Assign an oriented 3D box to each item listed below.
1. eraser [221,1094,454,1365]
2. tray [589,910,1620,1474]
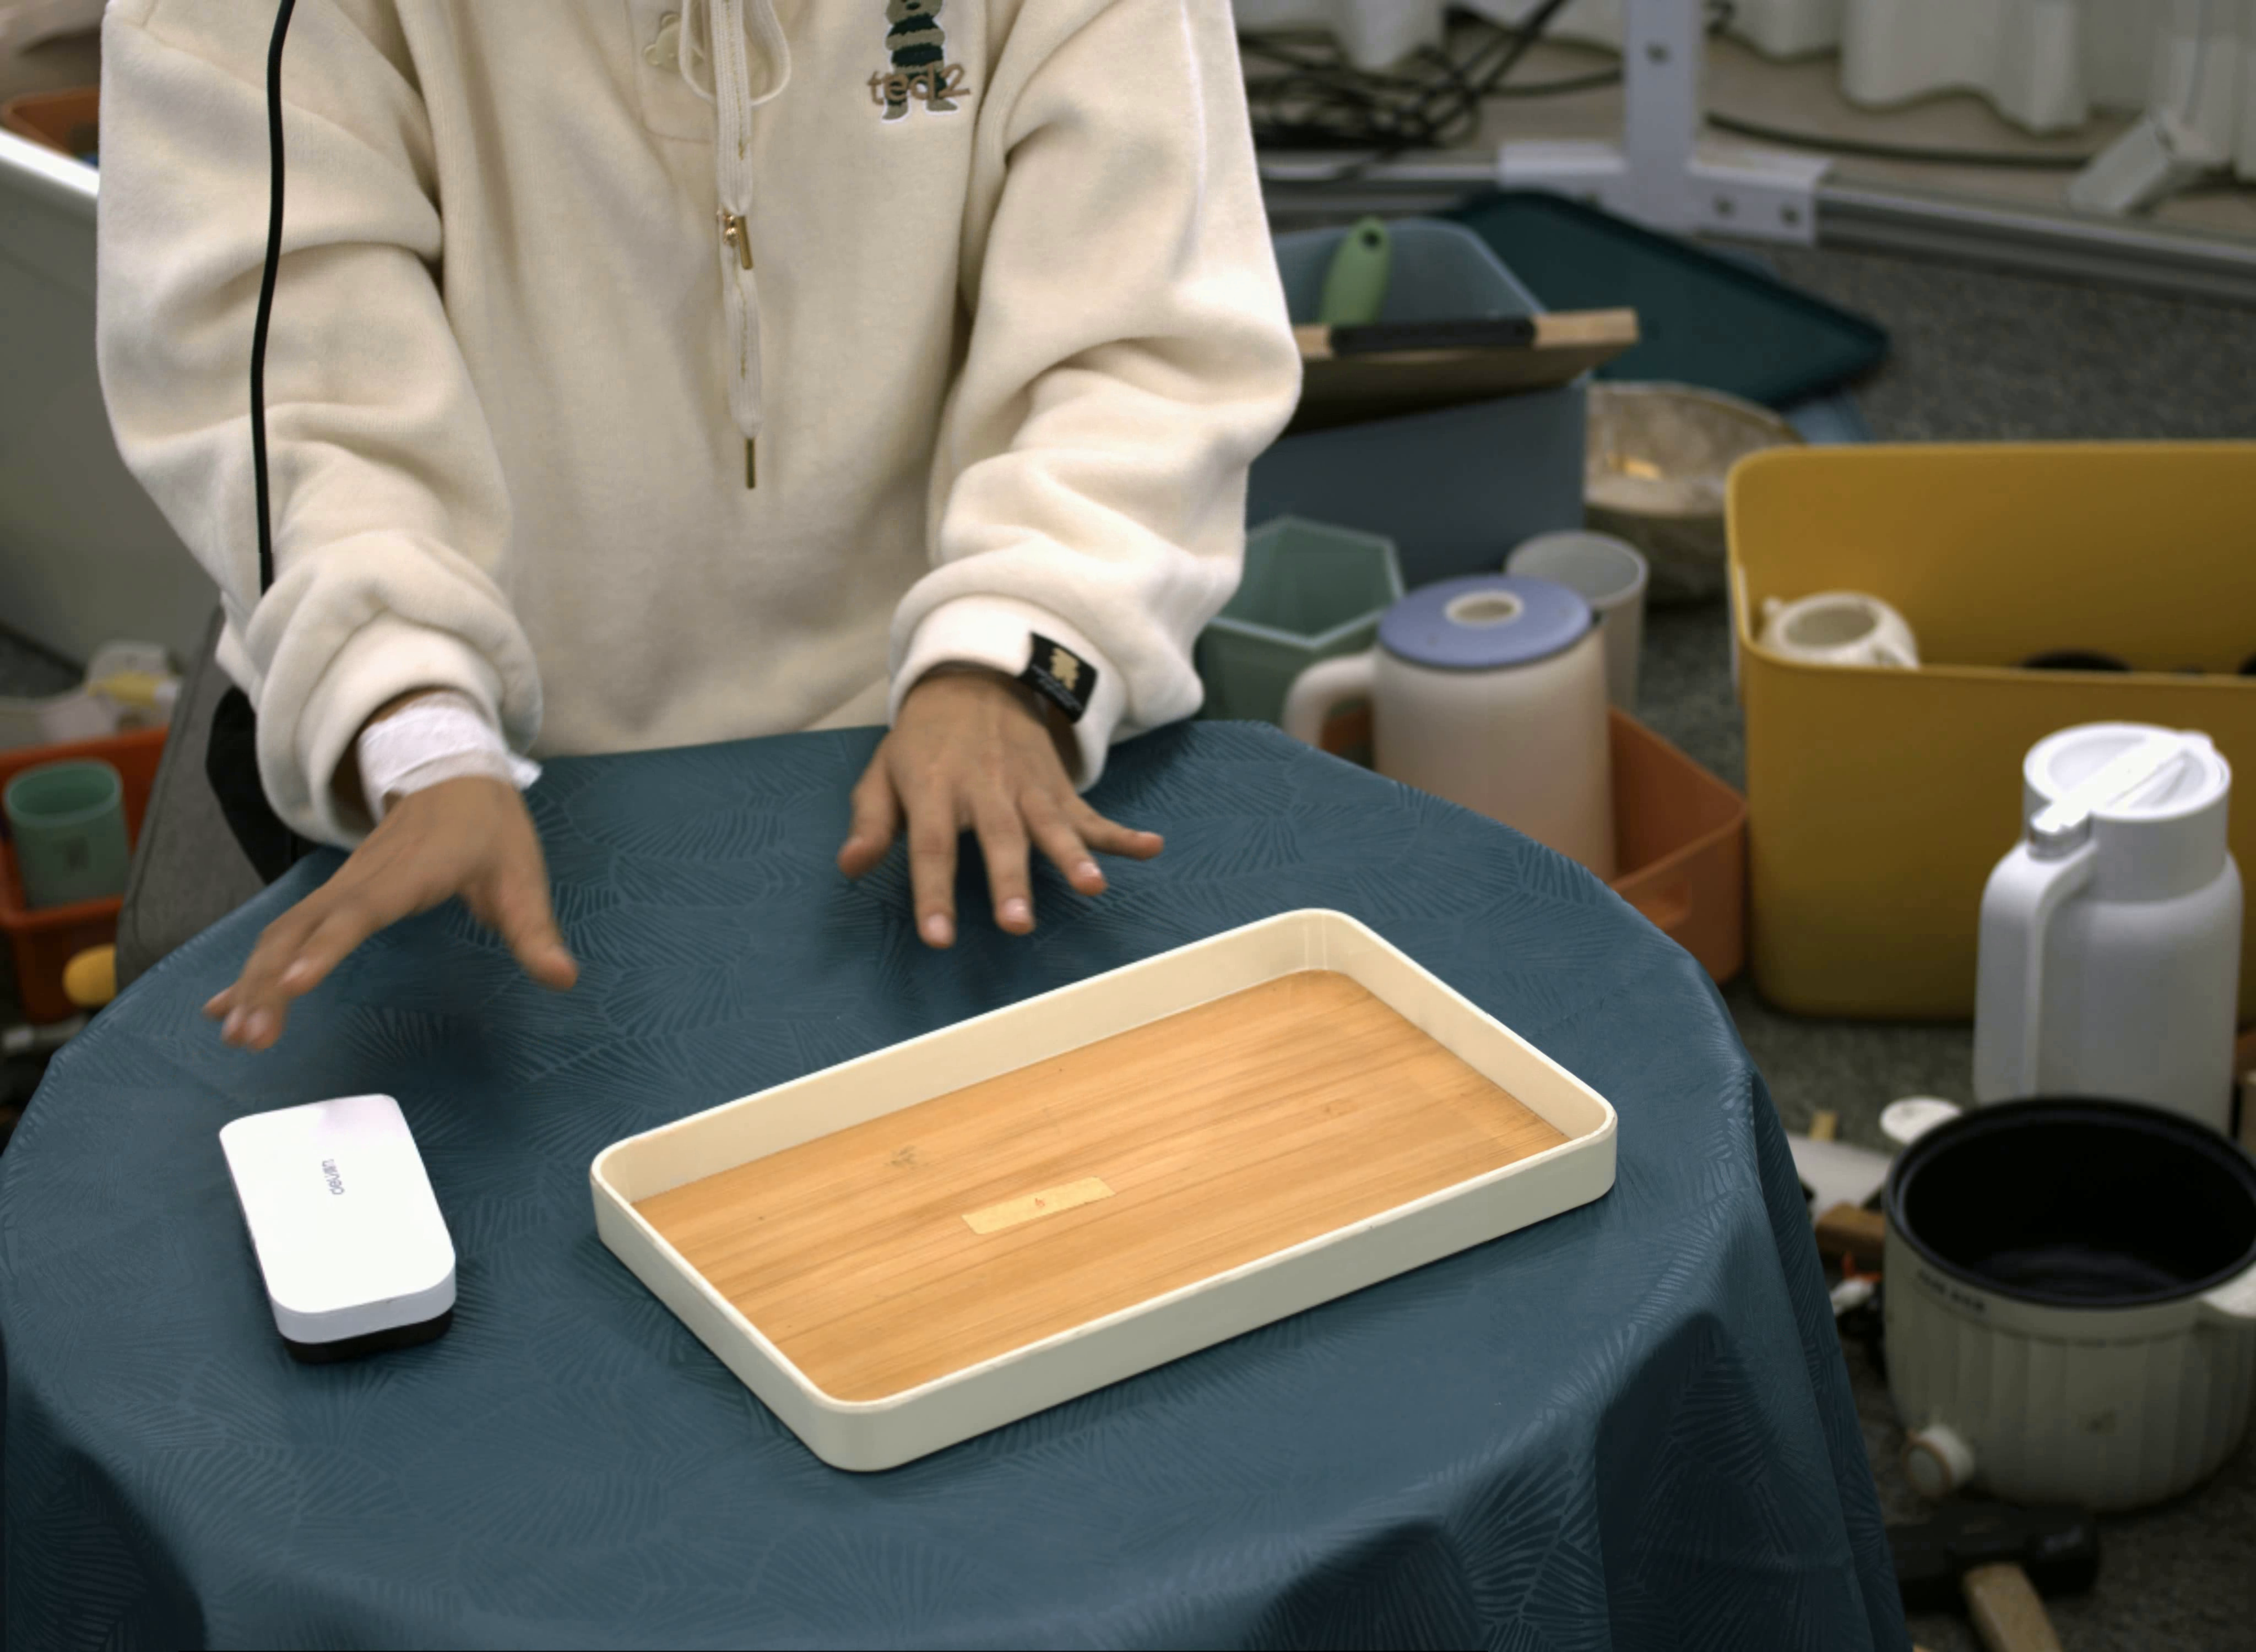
[{"bbox_3d":[-0.258,0.129,1.840,0.063,0.034,0.132,-10,29,-12],"label":"eraser"},{"bbox_3d":[-0.007,0.115,1.846,0.302,0.027,0.192,-18,31,-26],"label":"tray"}]
